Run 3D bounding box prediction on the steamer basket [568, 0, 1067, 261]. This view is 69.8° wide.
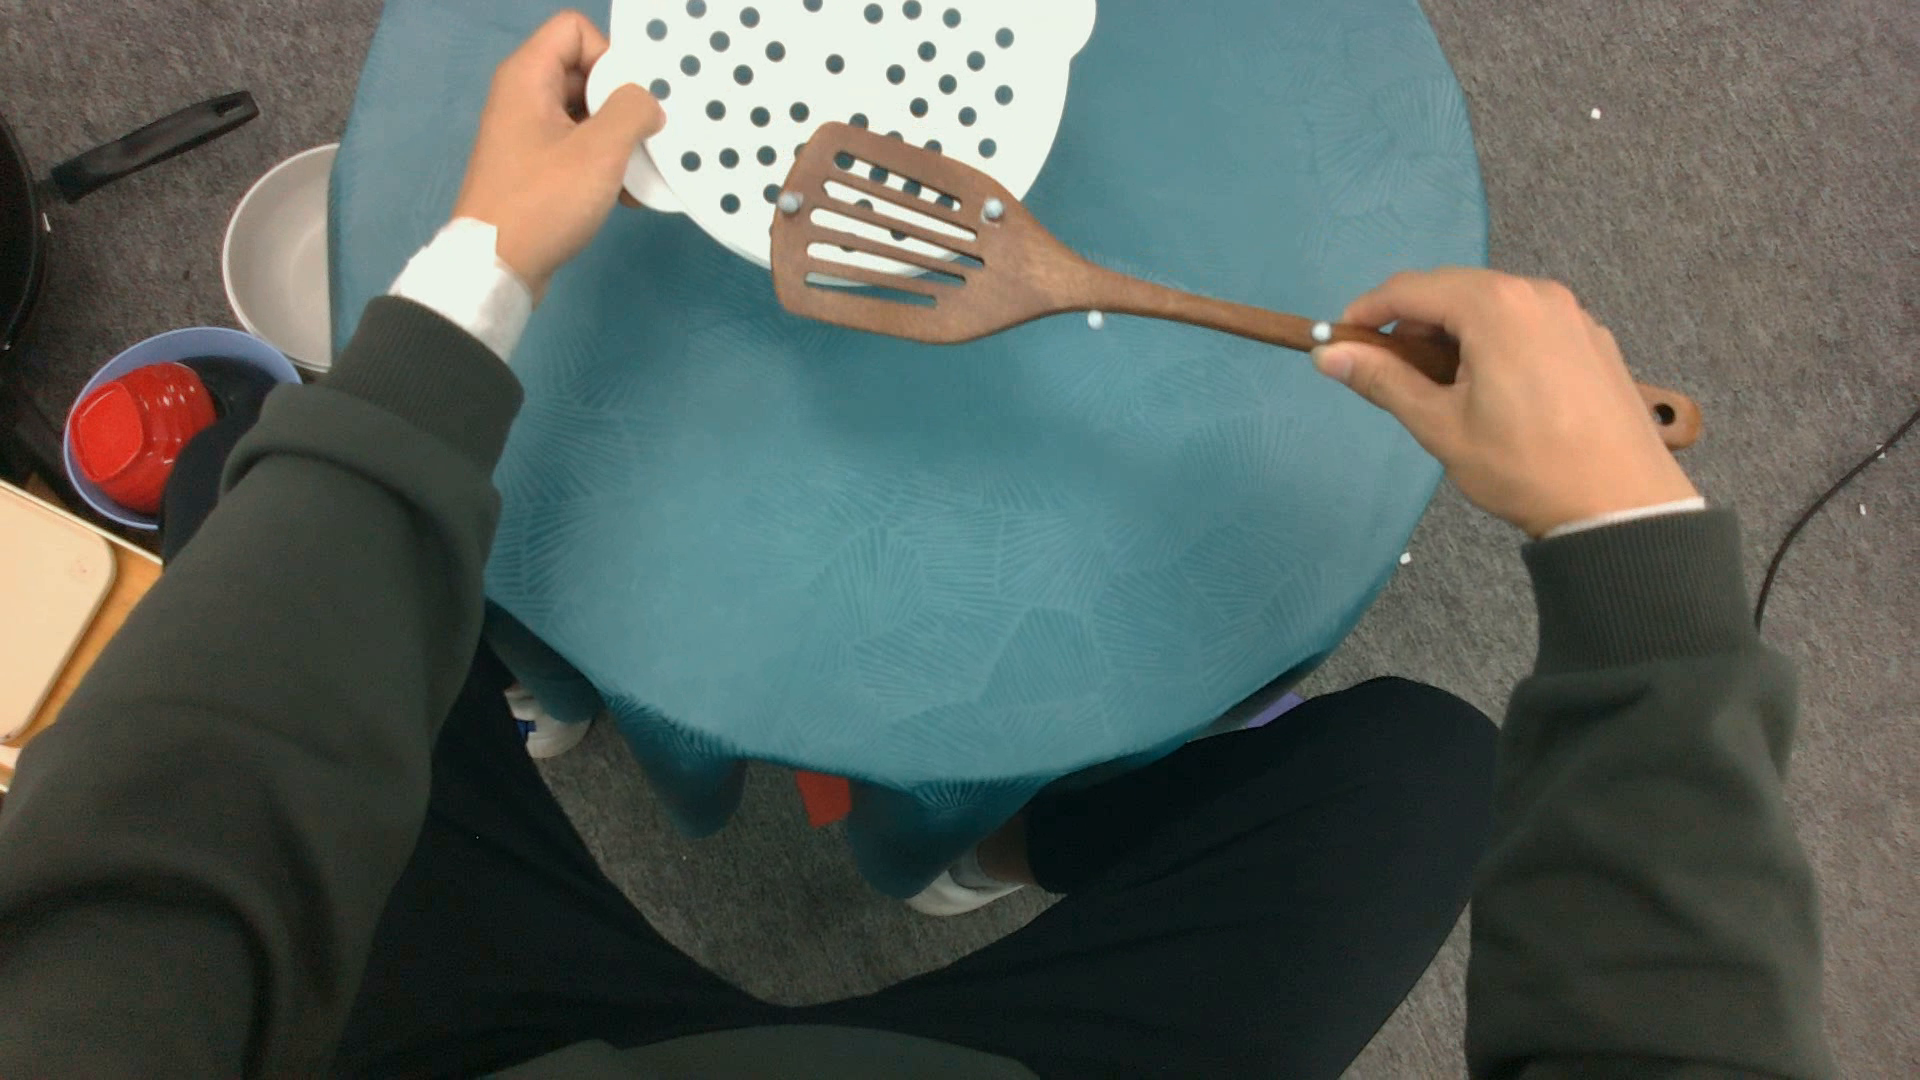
[{"bbox_3d":[-0.065,-0.231,0.644,0.230,0.069,0.201,-23,108,0],"label":"steamer basket"}]

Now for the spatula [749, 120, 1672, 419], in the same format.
[{"bbox_3d":[0.102,-0.101,0.577,0.385,0.023,0.086,12,87,5],"label":"spatula"}]
